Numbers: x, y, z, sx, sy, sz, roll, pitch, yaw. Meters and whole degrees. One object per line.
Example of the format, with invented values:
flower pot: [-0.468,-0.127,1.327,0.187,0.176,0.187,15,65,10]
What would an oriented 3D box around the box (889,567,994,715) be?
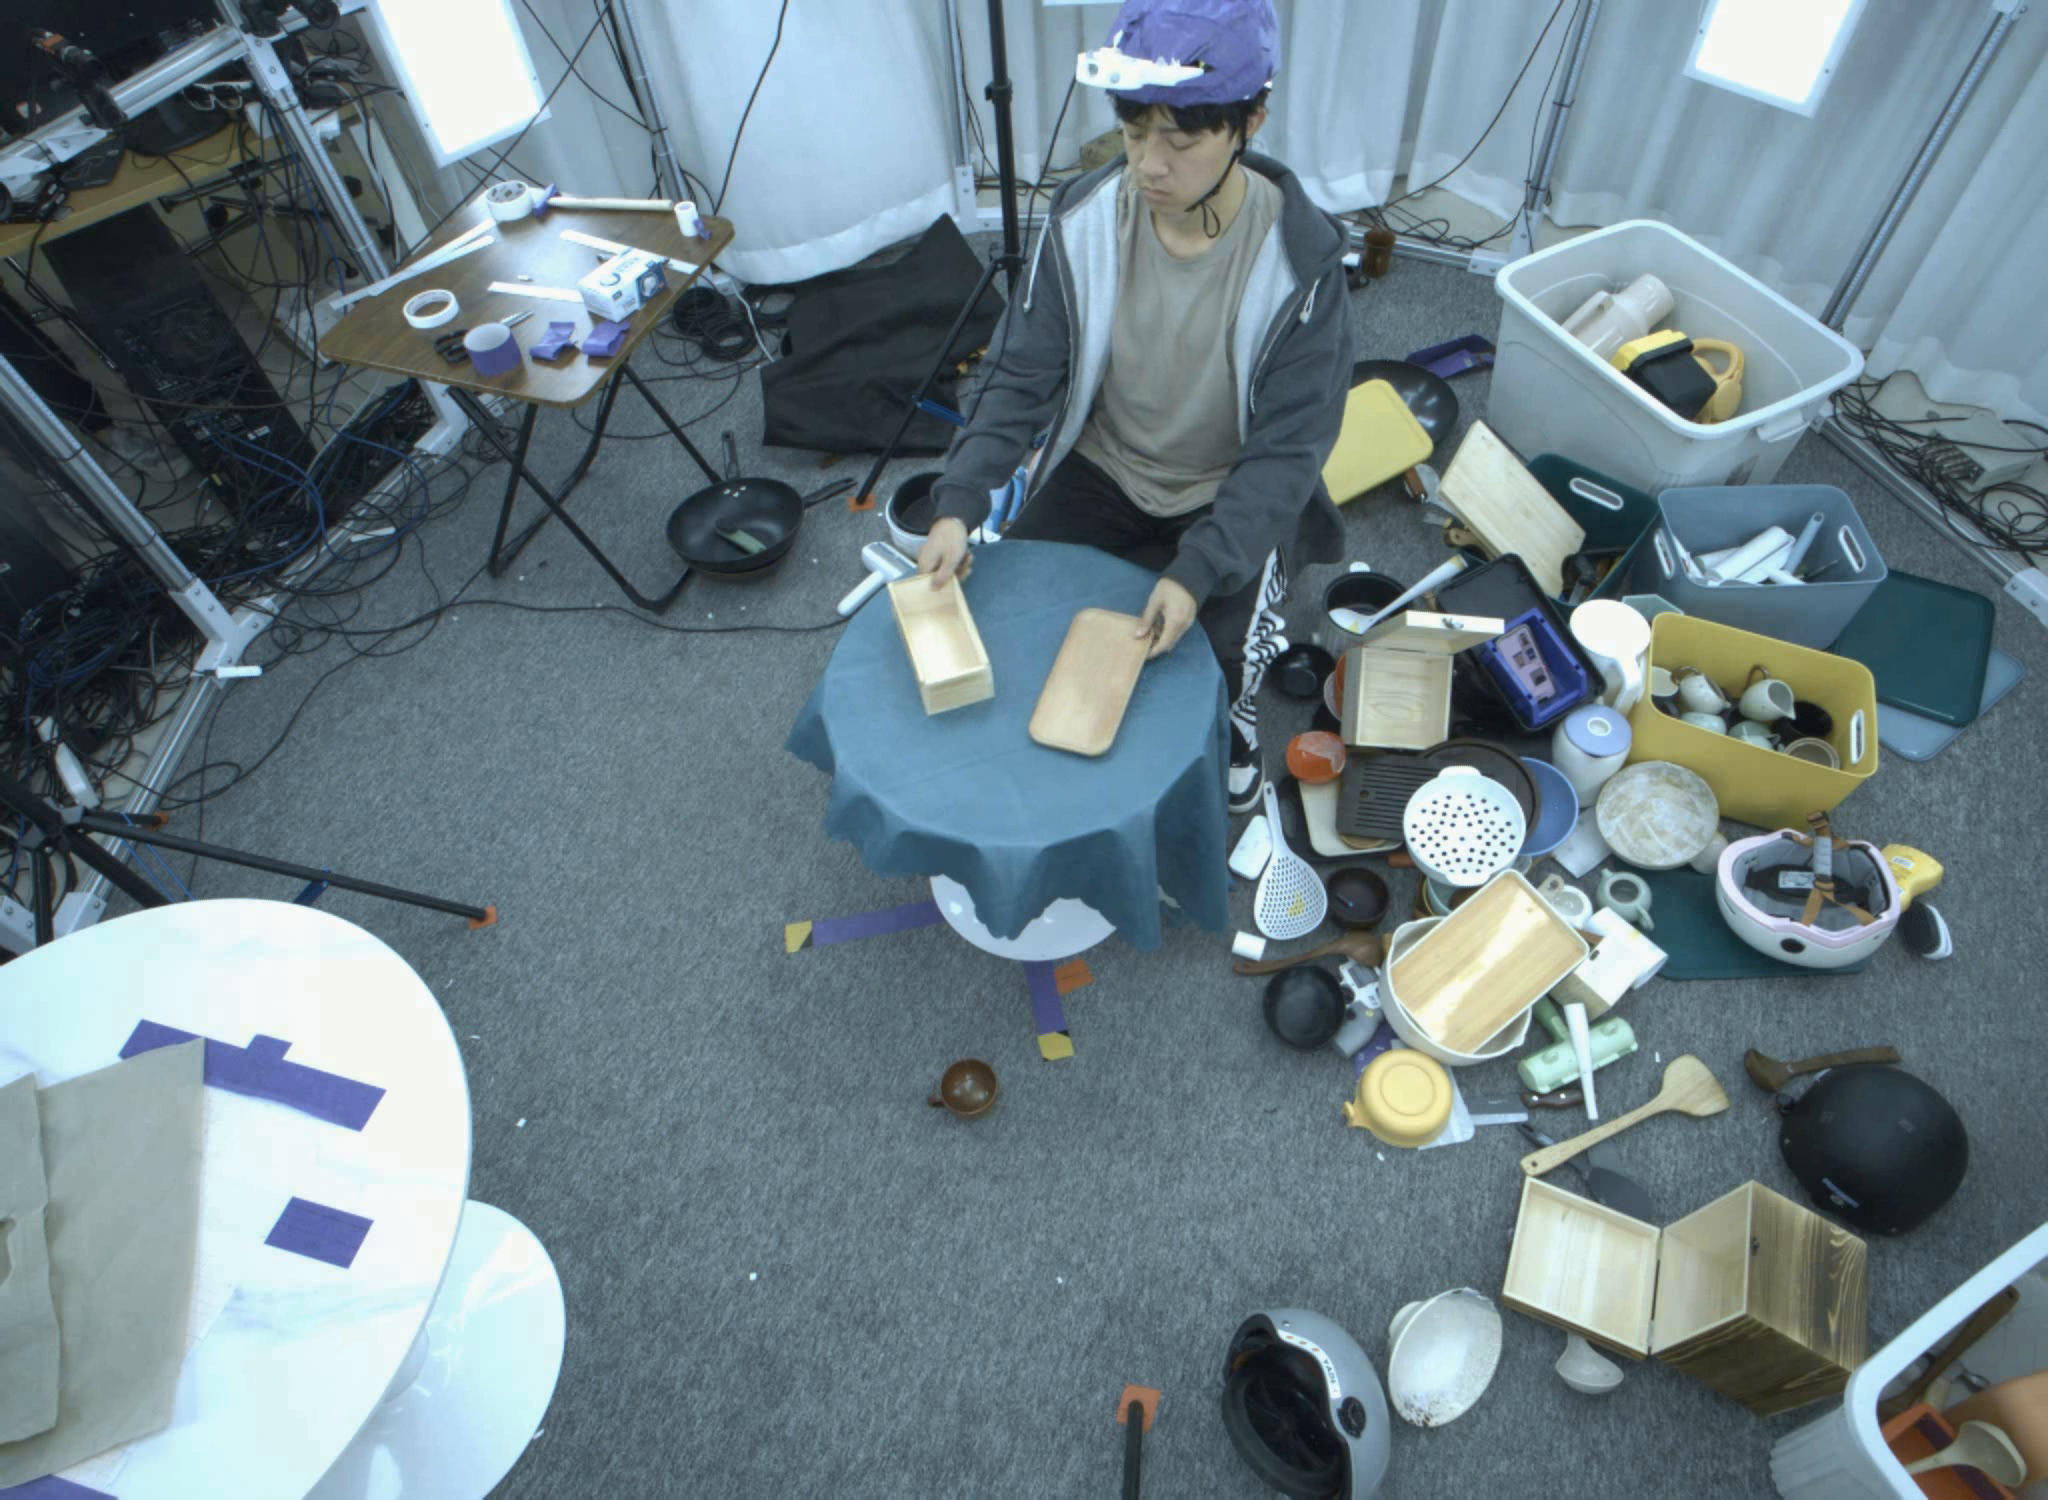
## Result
box: [-0.127,-0.168,1.865,0.108,0.081,0.208,-16,56,-8]

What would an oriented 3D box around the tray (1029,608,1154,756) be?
tray: [0.102,-0.104,1.832,0.129,0.023,0.250,17,63,13]
